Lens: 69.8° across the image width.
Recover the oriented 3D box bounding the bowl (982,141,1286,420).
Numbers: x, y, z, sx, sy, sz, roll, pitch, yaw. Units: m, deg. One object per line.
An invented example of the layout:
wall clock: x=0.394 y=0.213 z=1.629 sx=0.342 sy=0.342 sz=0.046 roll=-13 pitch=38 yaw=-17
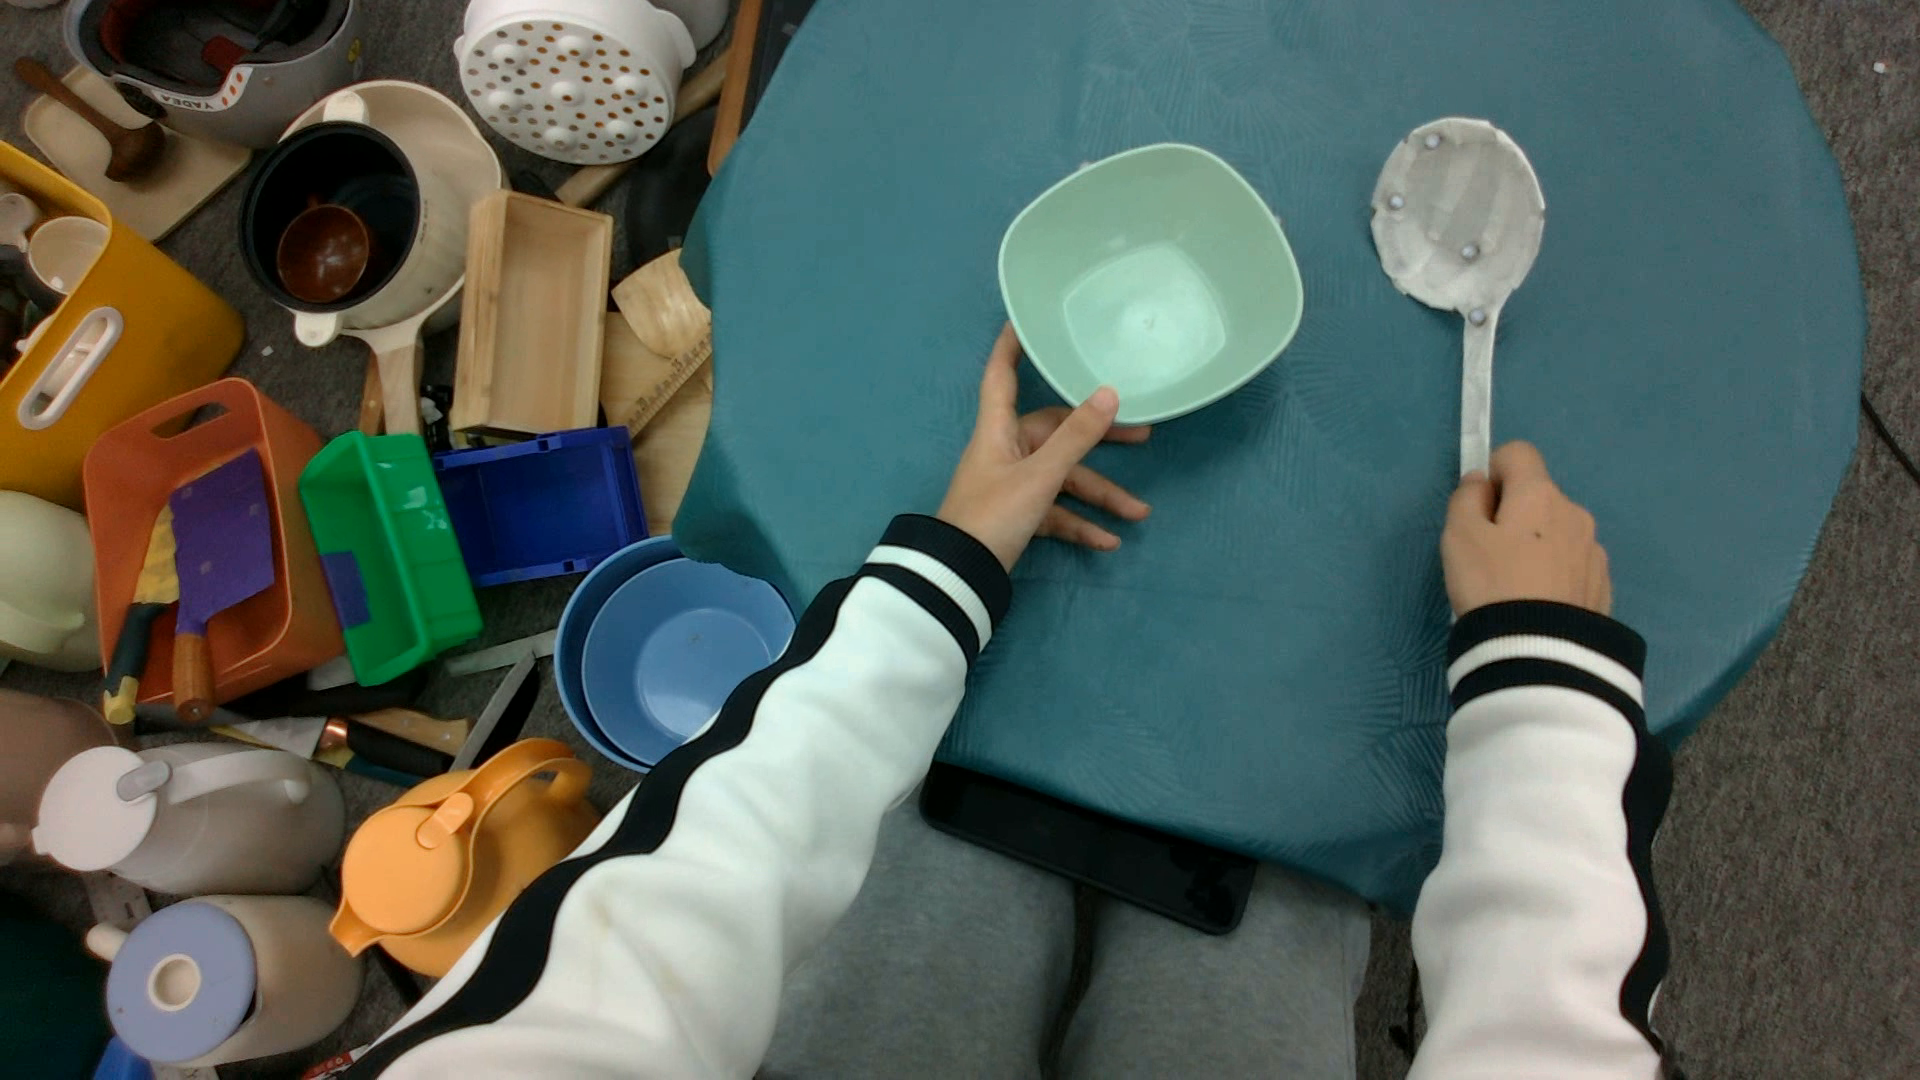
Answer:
bowl: x=0.087 y=-0.123 z=0.702 sx=0.151 sy=0.058 sz=0.152 roll=-1 pitch=74 yaw=4

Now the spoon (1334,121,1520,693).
spoon: x=0.219 y=-0.067 z=0.668 sx=0.059 sy=0.100 sz=0.278 roll=20 pitch=72 yaw=-32
